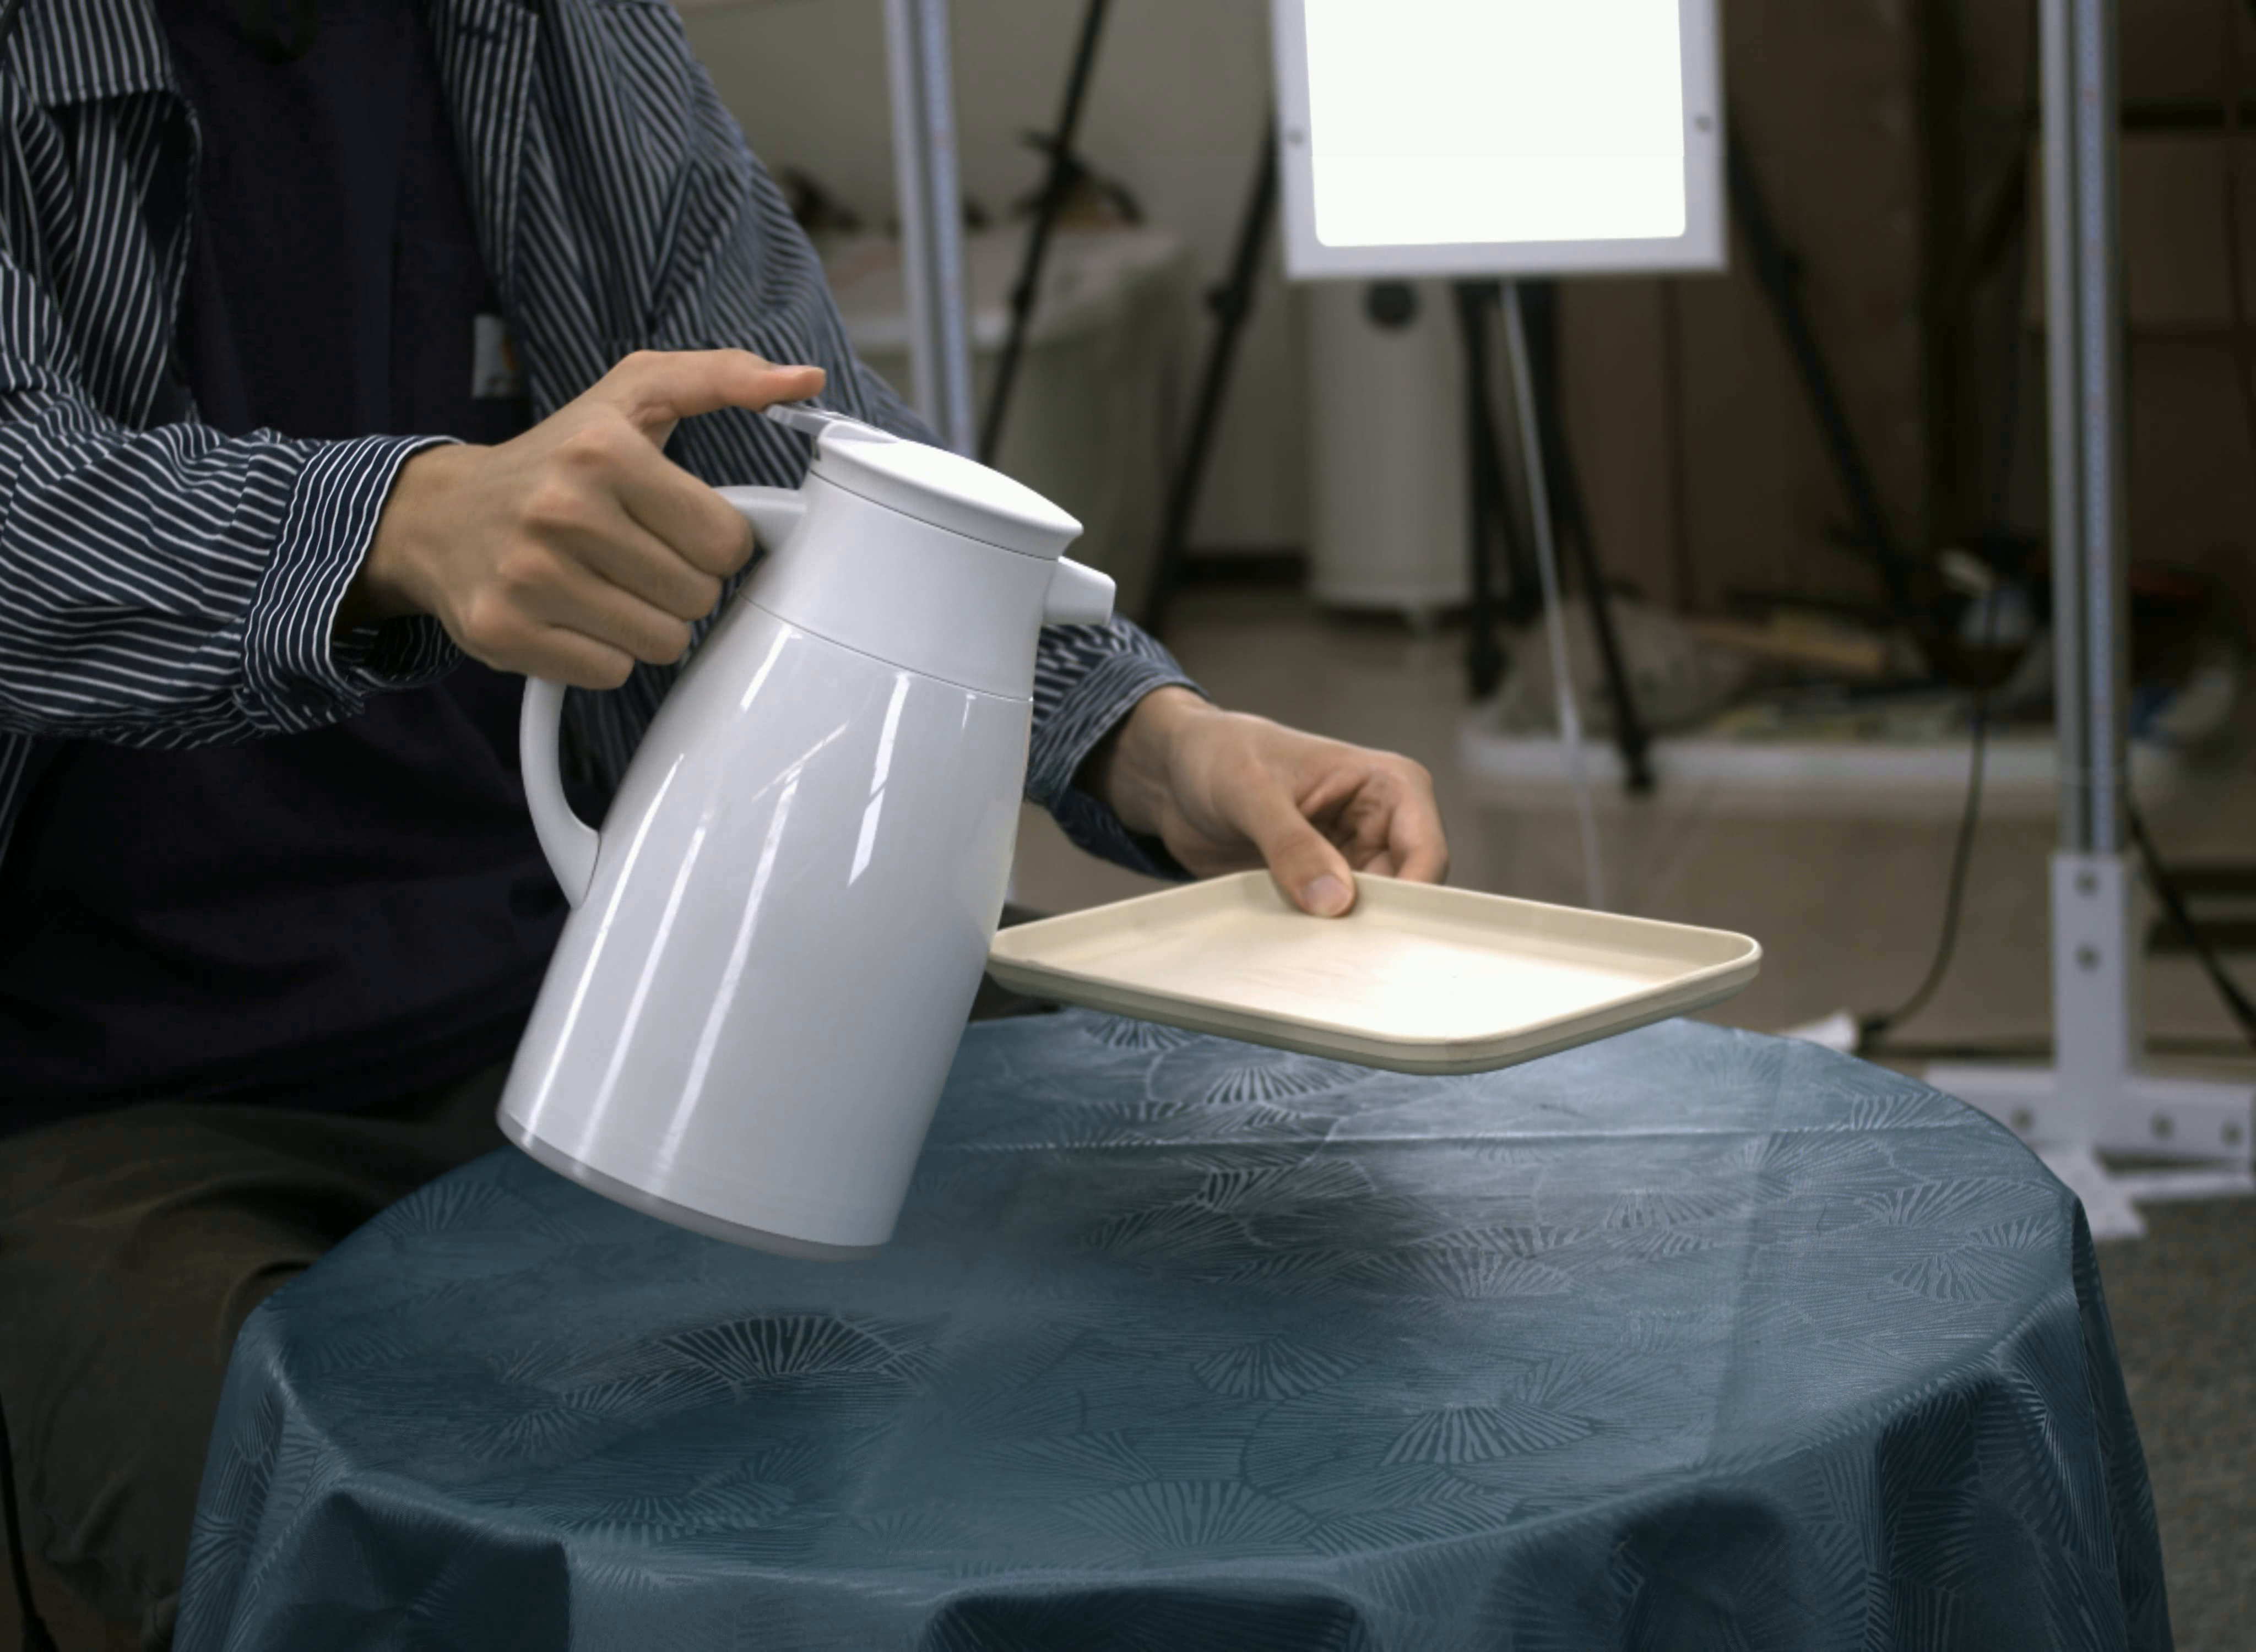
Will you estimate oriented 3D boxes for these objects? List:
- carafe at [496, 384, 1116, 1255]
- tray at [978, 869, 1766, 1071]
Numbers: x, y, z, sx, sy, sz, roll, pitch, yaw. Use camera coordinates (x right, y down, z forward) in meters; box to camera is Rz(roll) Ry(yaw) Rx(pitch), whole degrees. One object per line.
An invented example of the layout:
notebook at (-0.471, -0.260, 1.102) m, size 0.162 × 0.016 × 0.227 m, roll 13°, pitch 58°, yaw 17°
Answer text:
carafe at (-0.113, -0.010, 1.726) m, size 0.165 × 0.250 × 0.133 m, roll 18°, pitch 9°, yaw -14°
tray at (0.080, 0.047, 1.829) m, size 0.167 × 0.017 × 0.245 m, roll -13°, pitch 14°, yaw -41°
